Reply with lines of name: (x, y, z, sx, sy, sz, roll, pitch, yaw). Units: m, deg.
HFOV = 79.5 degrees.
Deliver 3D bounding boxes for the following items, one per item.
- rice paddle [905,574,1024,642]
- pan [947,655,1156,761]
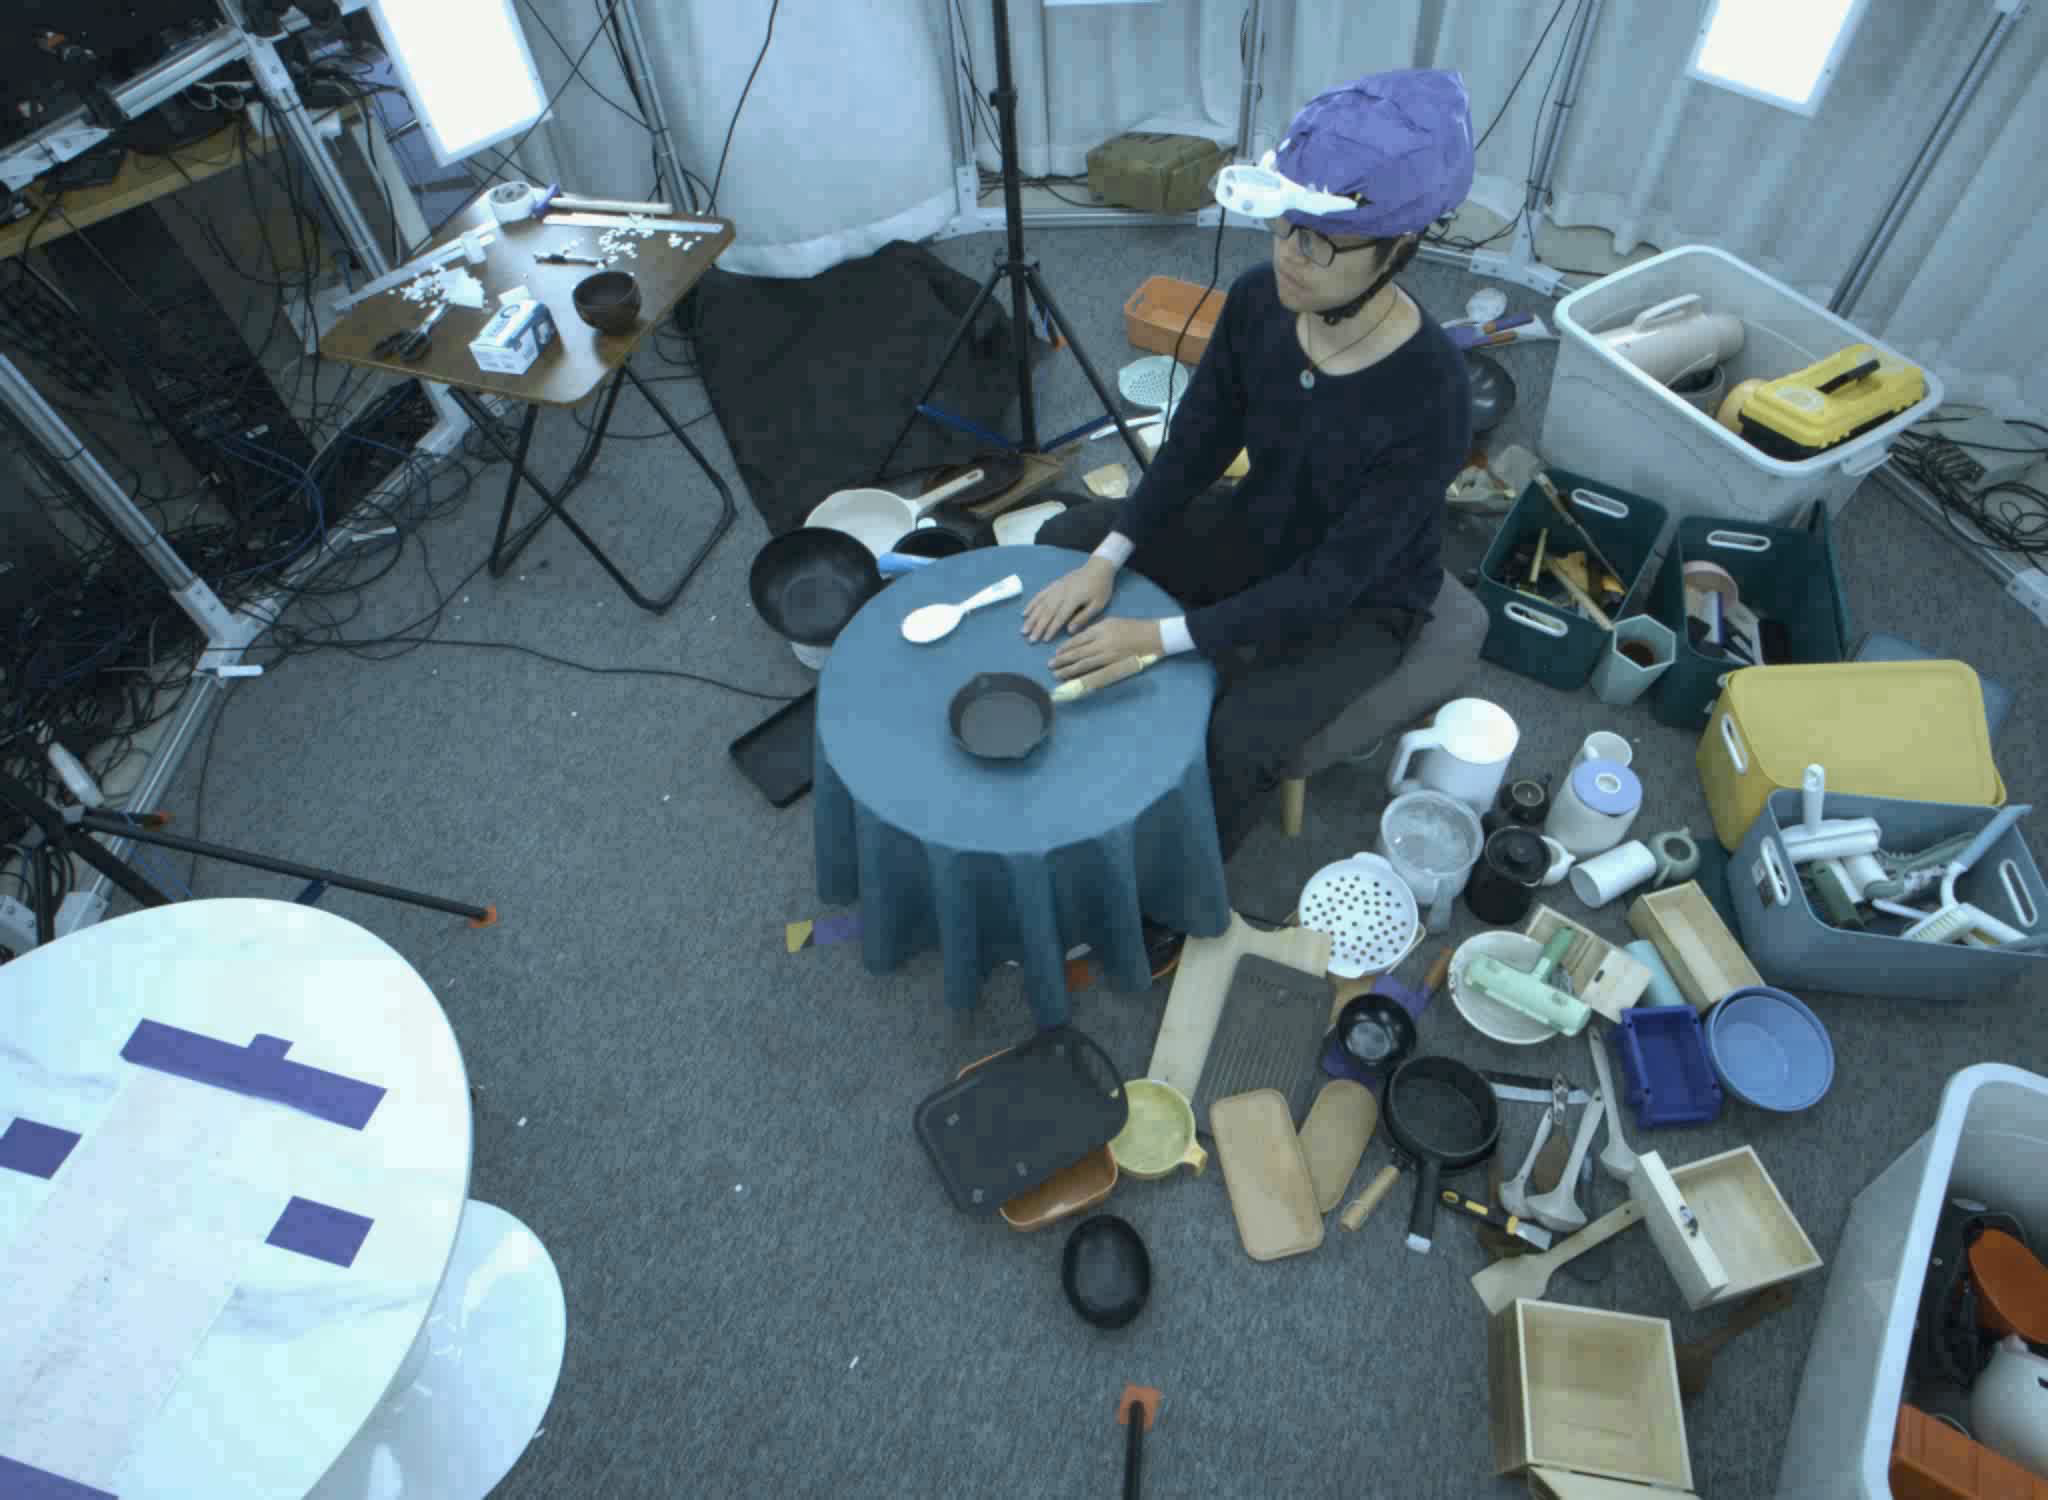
rice paddle: (-0.096, -0.223, 1.931, 0.207, 0.030, 0.067, -27, 56, -17)
pan: (0.045, -0.076, 1.808, 0.326, 0.050, 0.166, -19, 56, -9)
